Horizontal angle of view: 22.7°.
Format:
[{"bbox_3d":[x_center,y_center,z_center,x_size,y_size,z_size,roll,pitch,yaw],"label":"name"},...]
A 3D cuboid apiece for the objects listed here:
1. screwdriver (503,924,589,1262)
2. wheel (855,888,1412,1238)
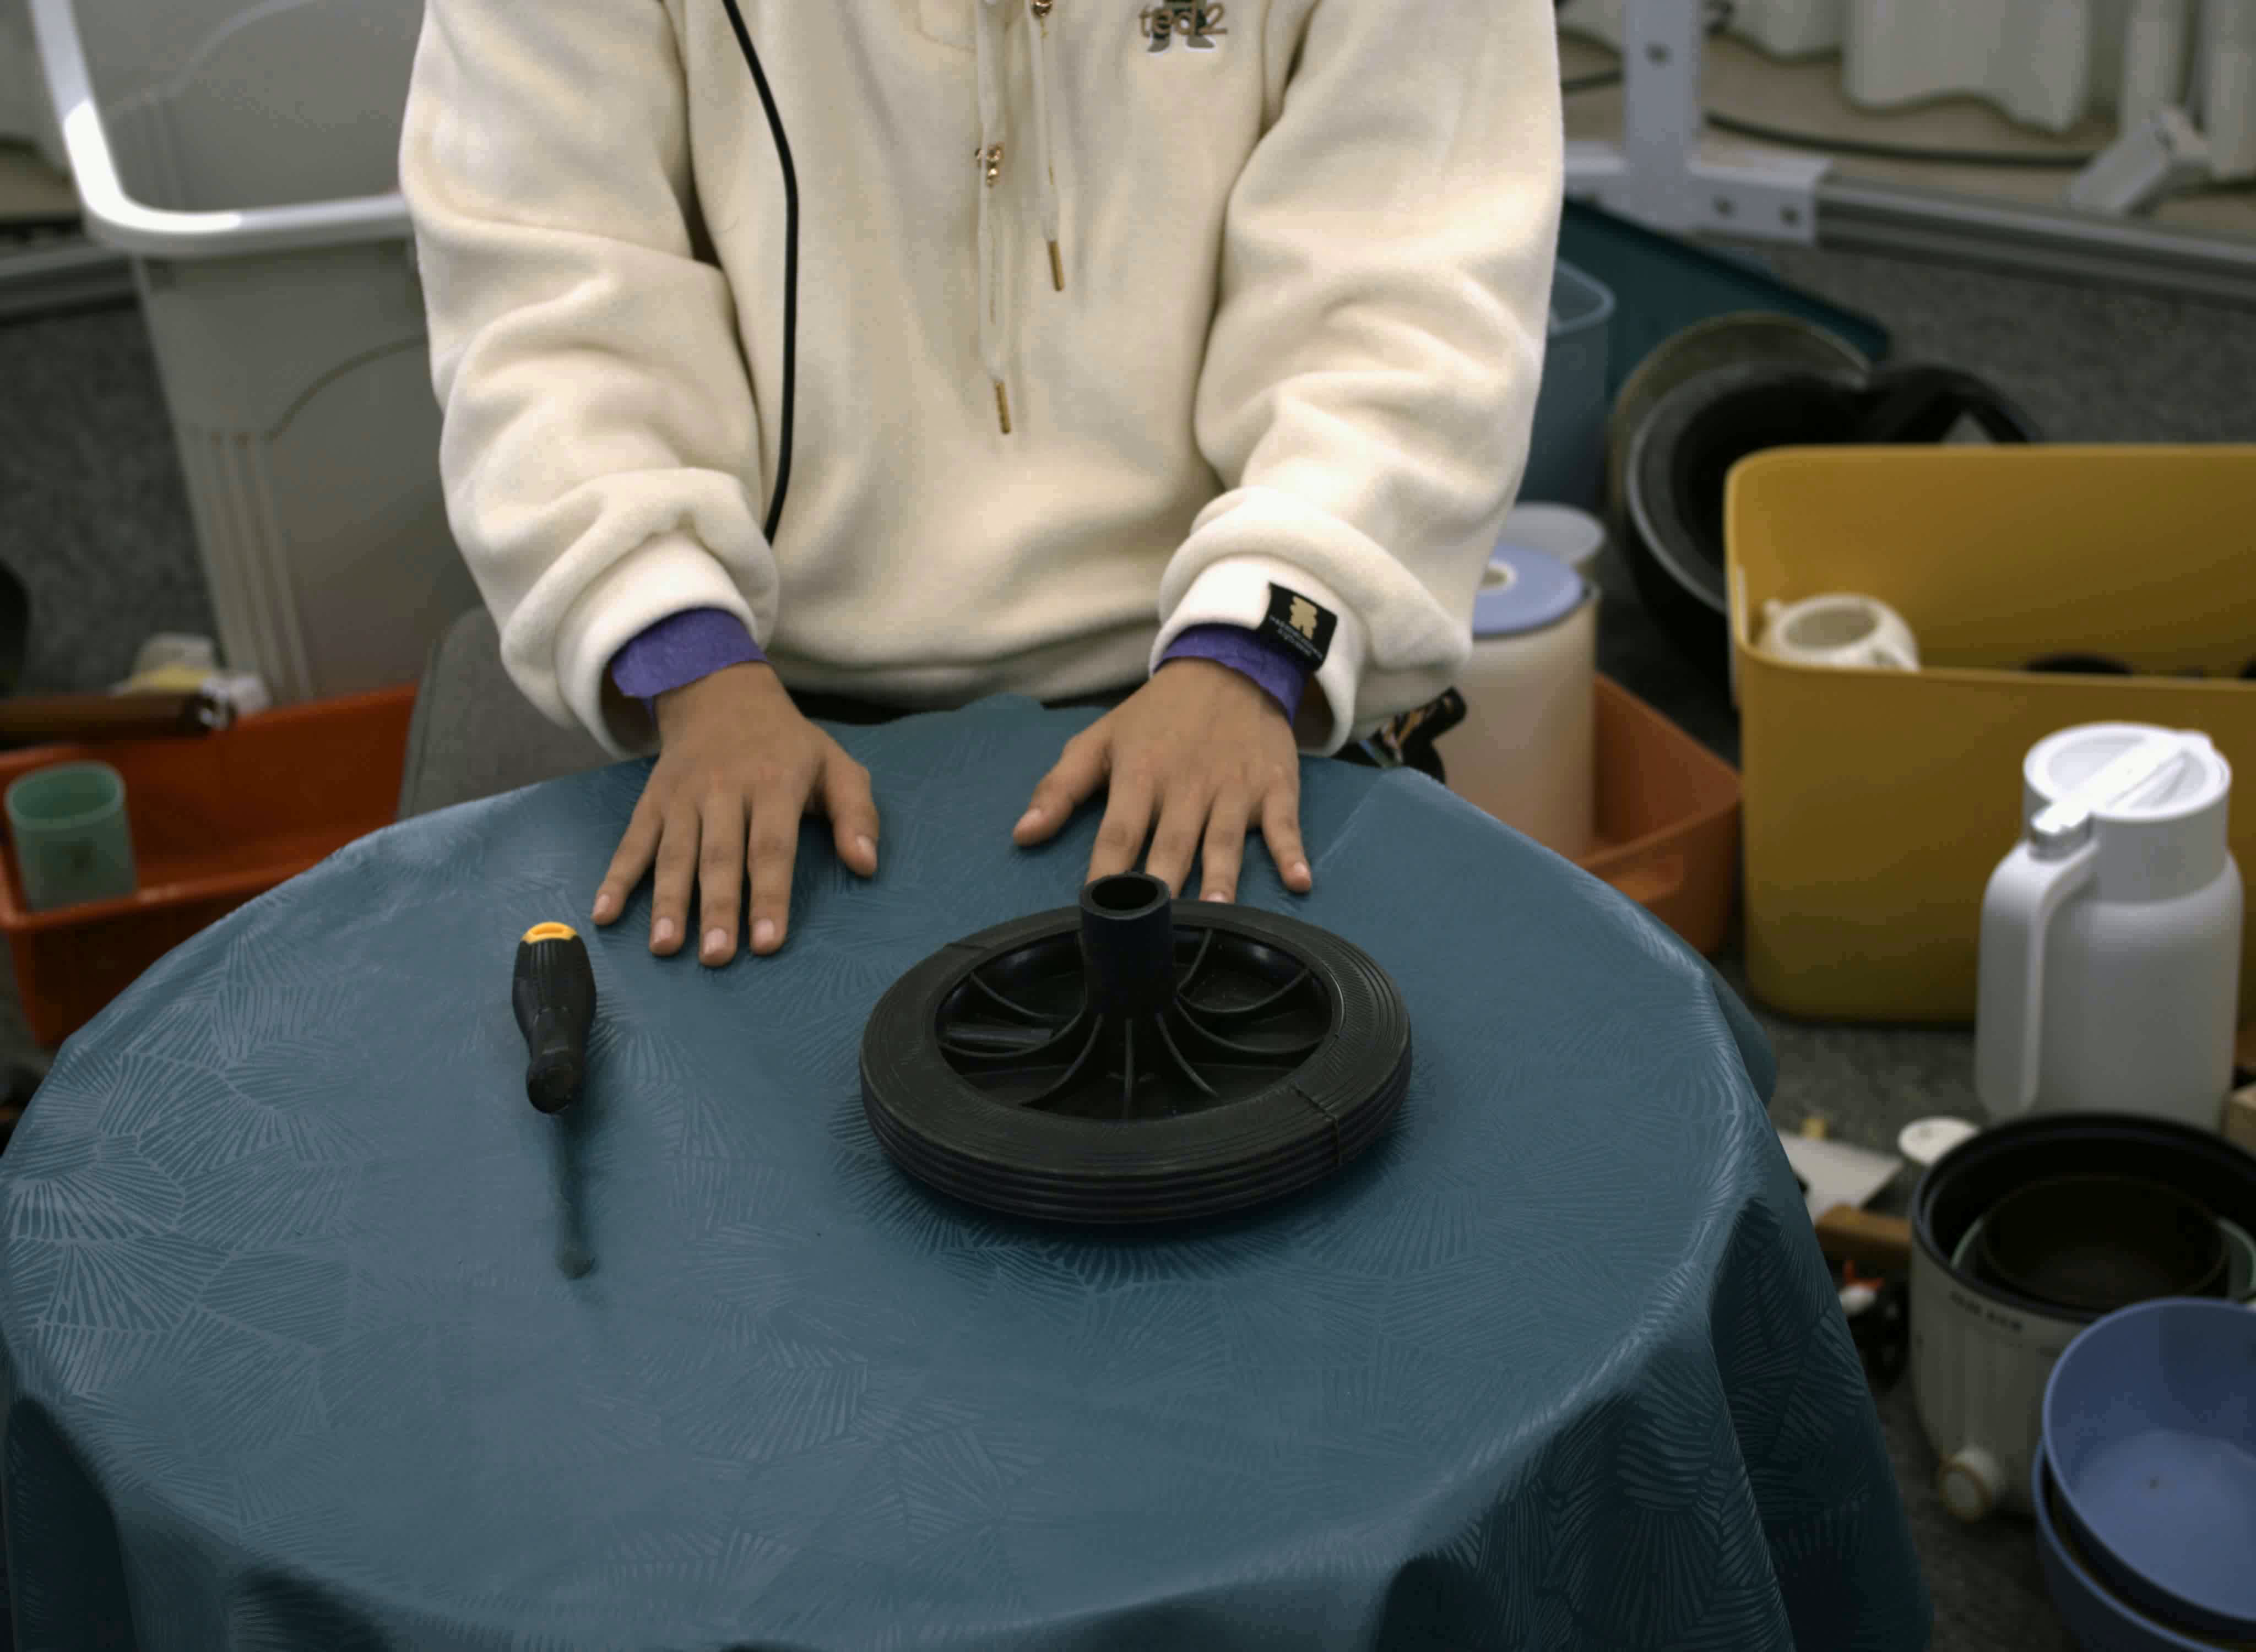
[{"bbox_3d":[-0.198,0.092,1.912,0.031,0.031,0.201,-4,30,-3],"label":"screwdriver"},{"bbox_3d":[-0.001,0.063,1.895,0.189,0.078,0.190,-10,28,-6],"label":"wheel"}]
